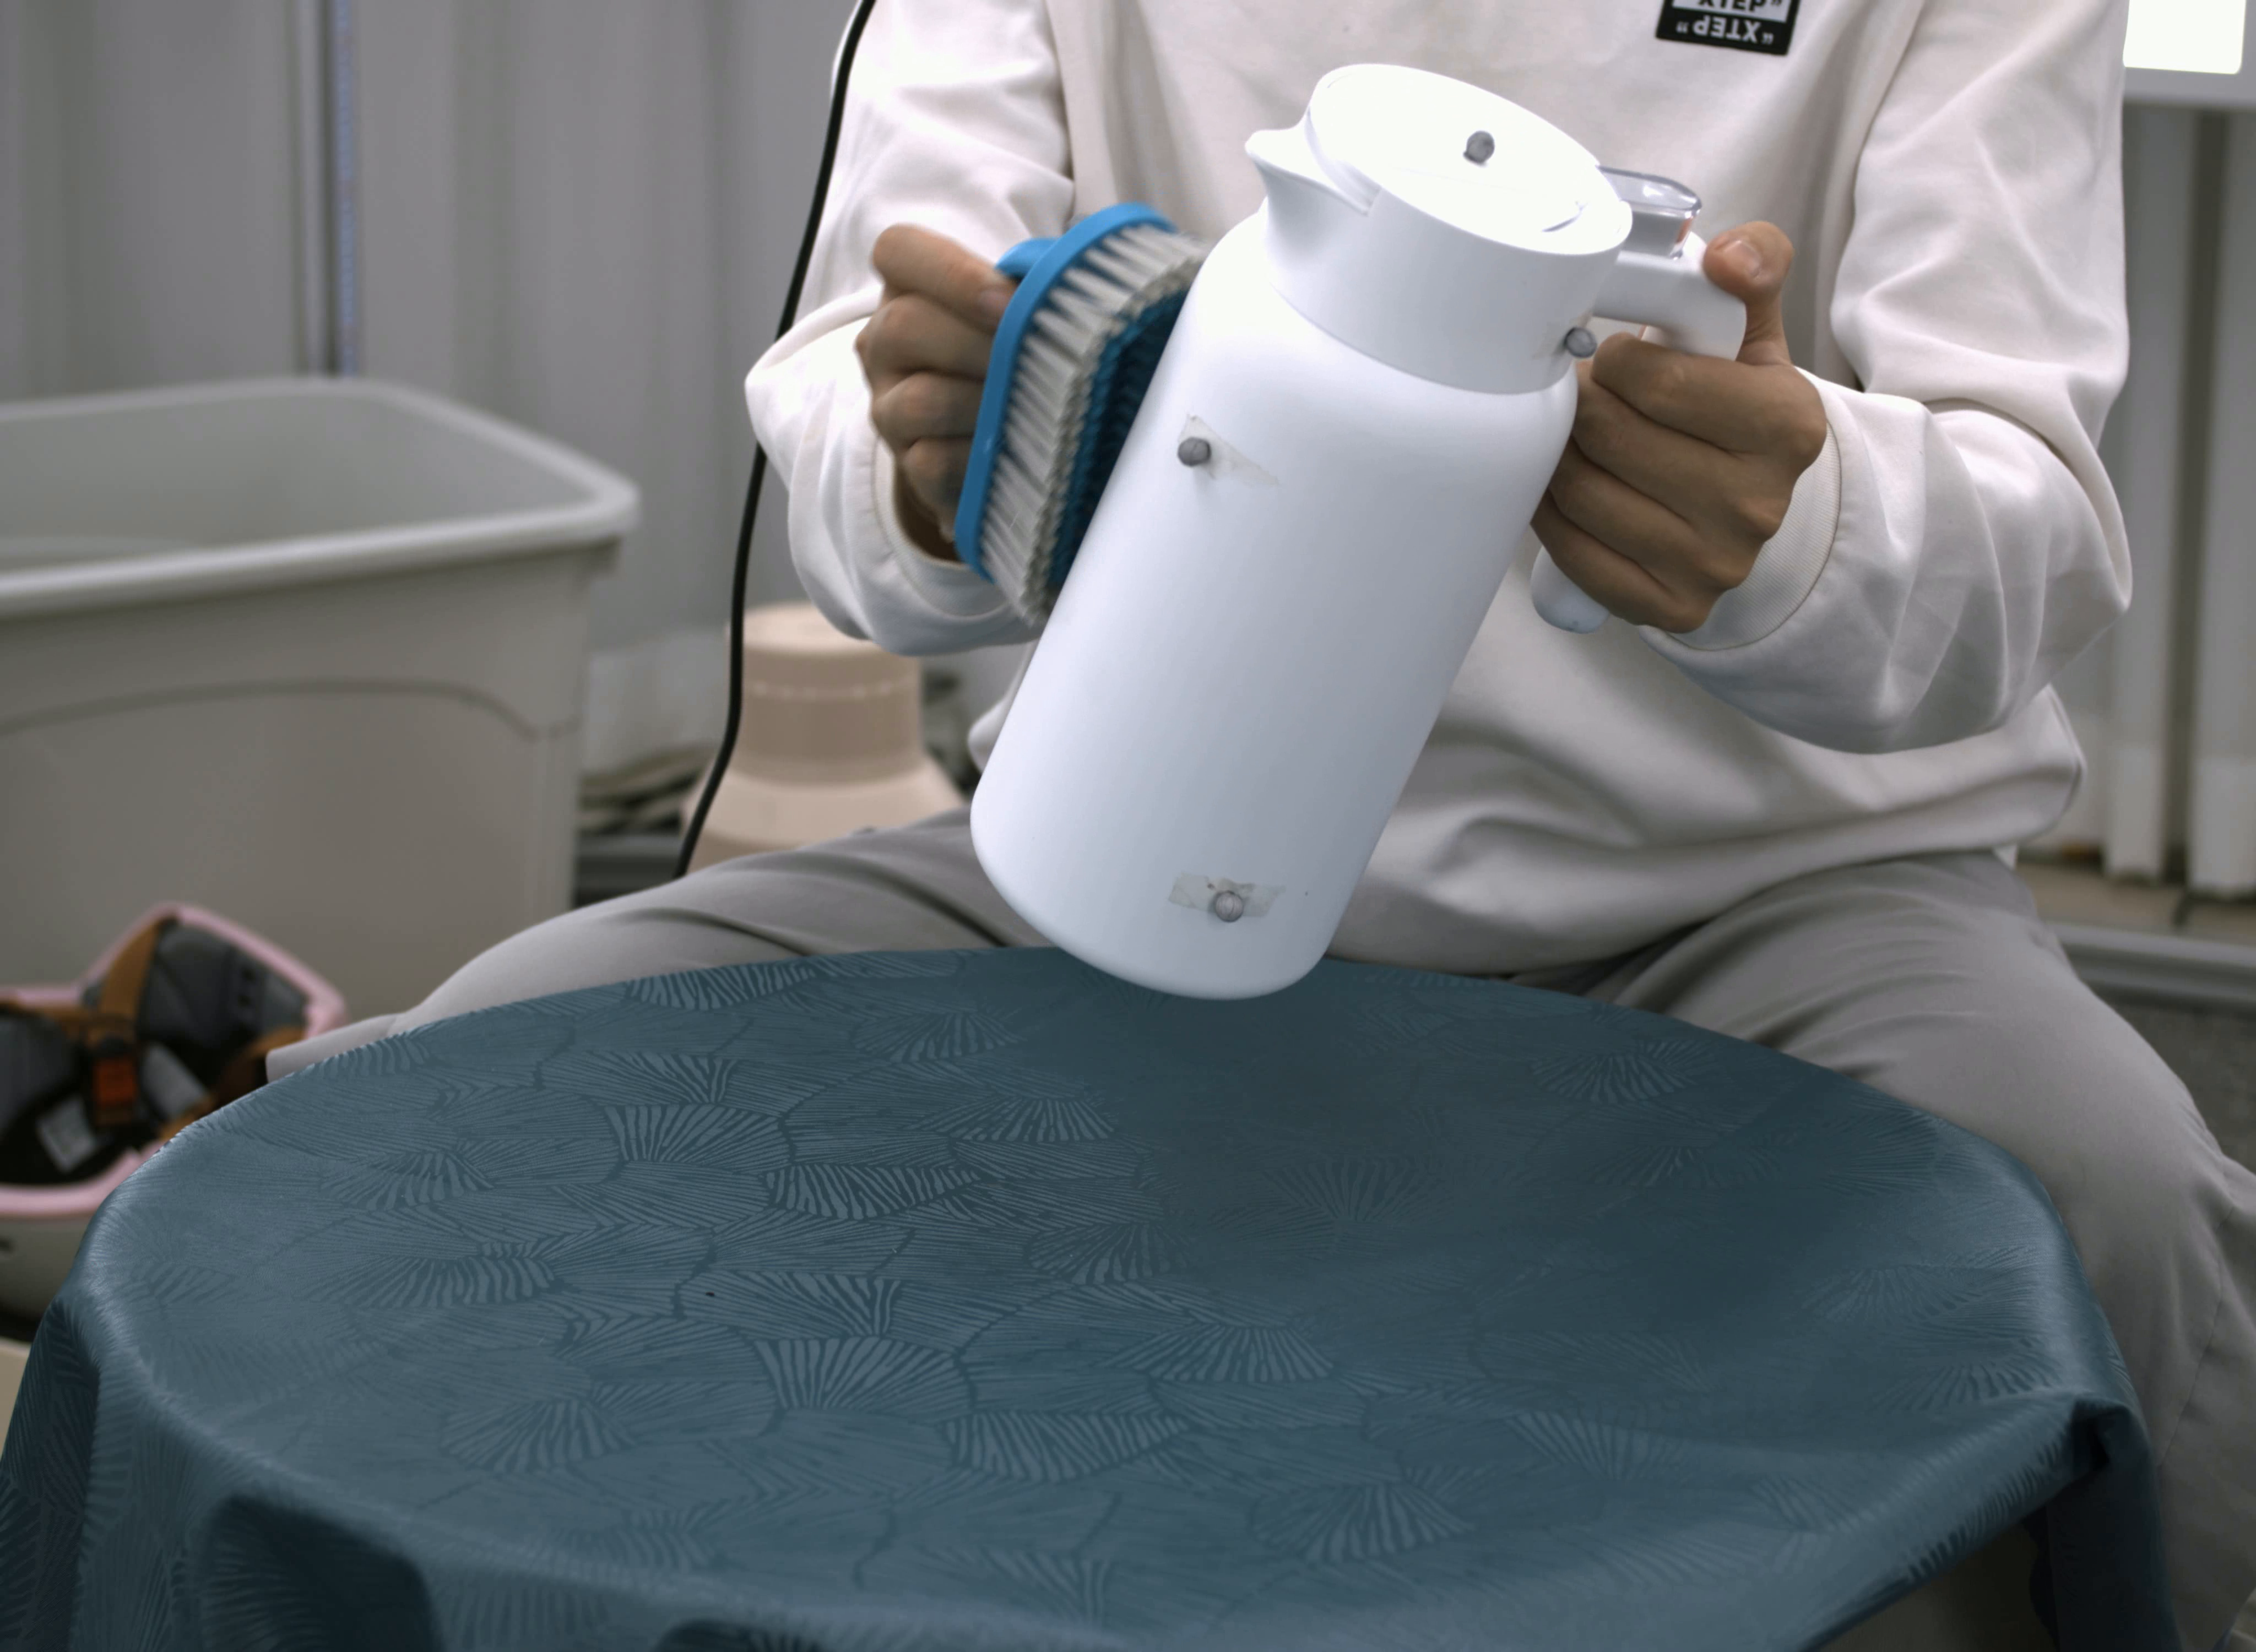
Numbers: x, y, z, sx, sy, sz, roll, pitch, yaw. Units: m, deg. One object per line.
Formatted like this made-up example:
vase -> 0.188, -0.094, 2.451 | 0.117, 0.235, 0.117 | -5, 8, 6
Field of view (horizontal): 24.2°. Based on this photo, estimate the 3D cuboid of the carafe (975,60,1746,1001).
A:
carafe -> 0.066, -0.083, 1.547 | 0.174, 0.270, 0.122 | 6, 33, -28

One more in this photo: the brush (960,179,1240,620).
brush -> -0.018, -0.132, 1.570 | 0.063, 0.143, 0.084 | 35, 48, 23
